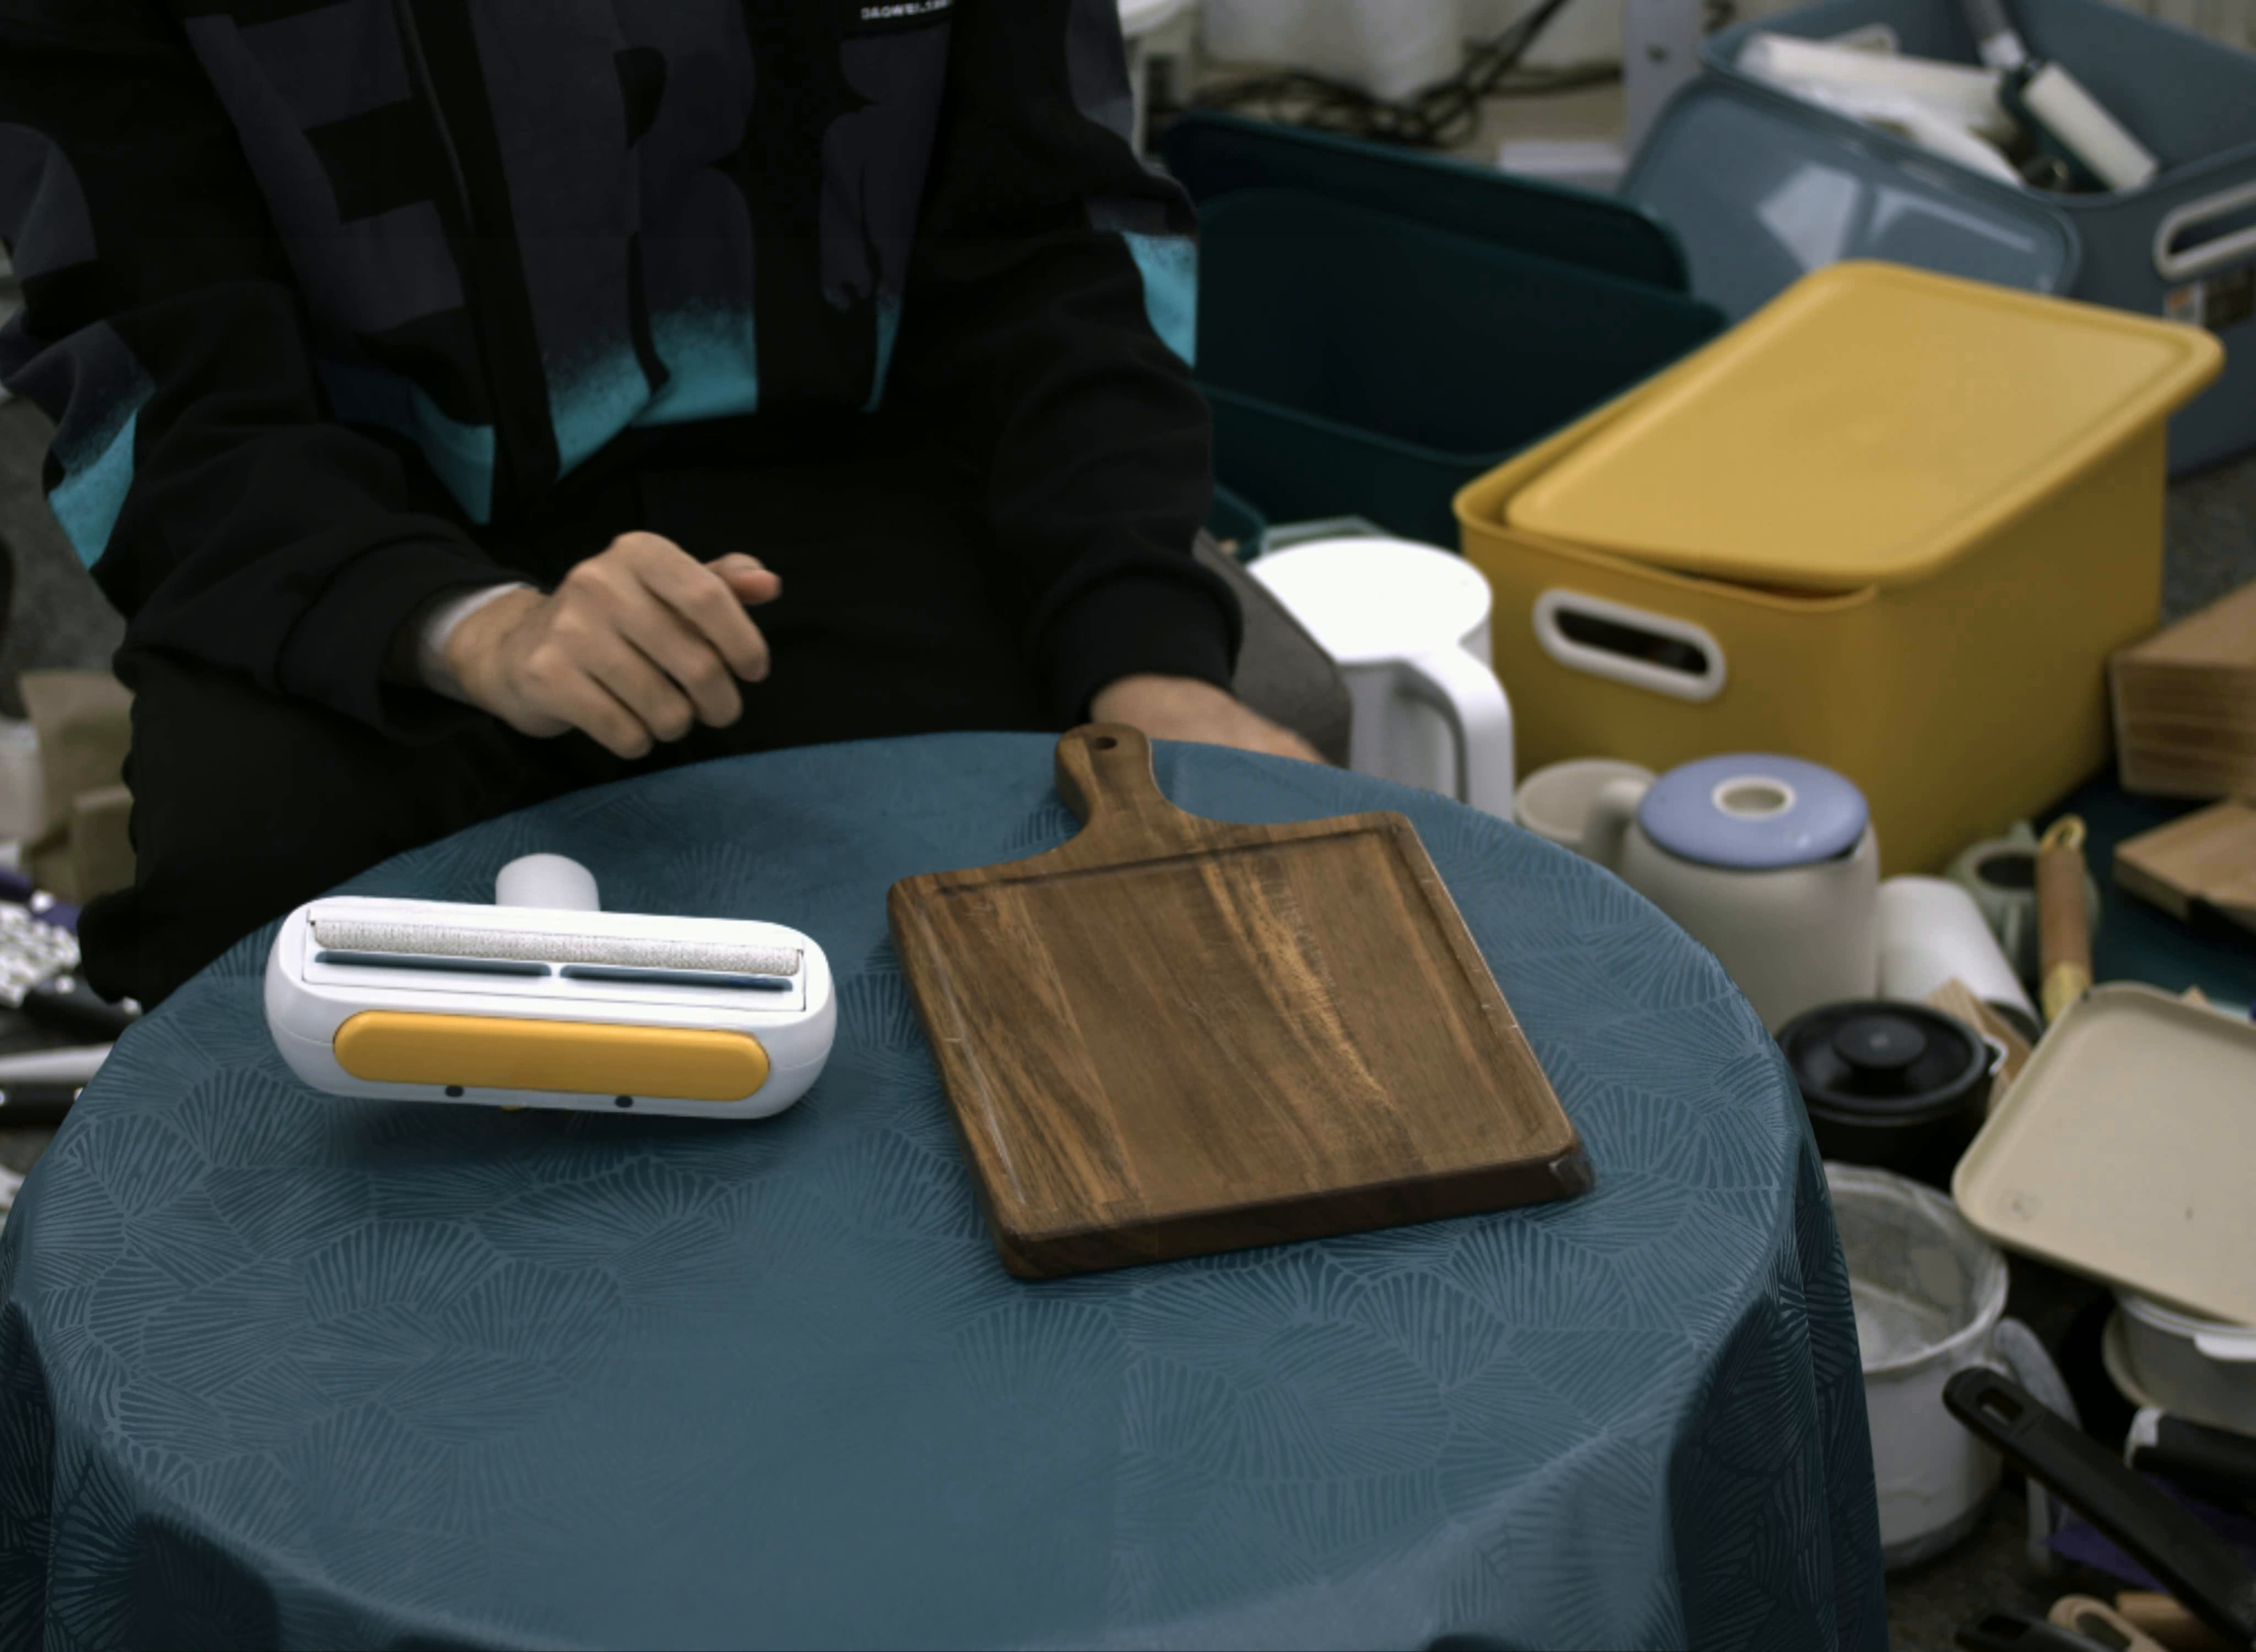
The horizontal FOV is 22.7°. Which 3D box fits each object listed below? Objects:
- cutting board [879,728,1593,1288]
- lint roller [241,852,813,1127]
[{"bbox_3d":[0.022,0.050,1.975,0.201,0.023,0.356,-8,28,-9],"label":"cutting board"},{"bbox_3d":[-0.205,0.043,1.959,0.192,0.073,0.195,1,26,-3],"label":"lint roller"}]
